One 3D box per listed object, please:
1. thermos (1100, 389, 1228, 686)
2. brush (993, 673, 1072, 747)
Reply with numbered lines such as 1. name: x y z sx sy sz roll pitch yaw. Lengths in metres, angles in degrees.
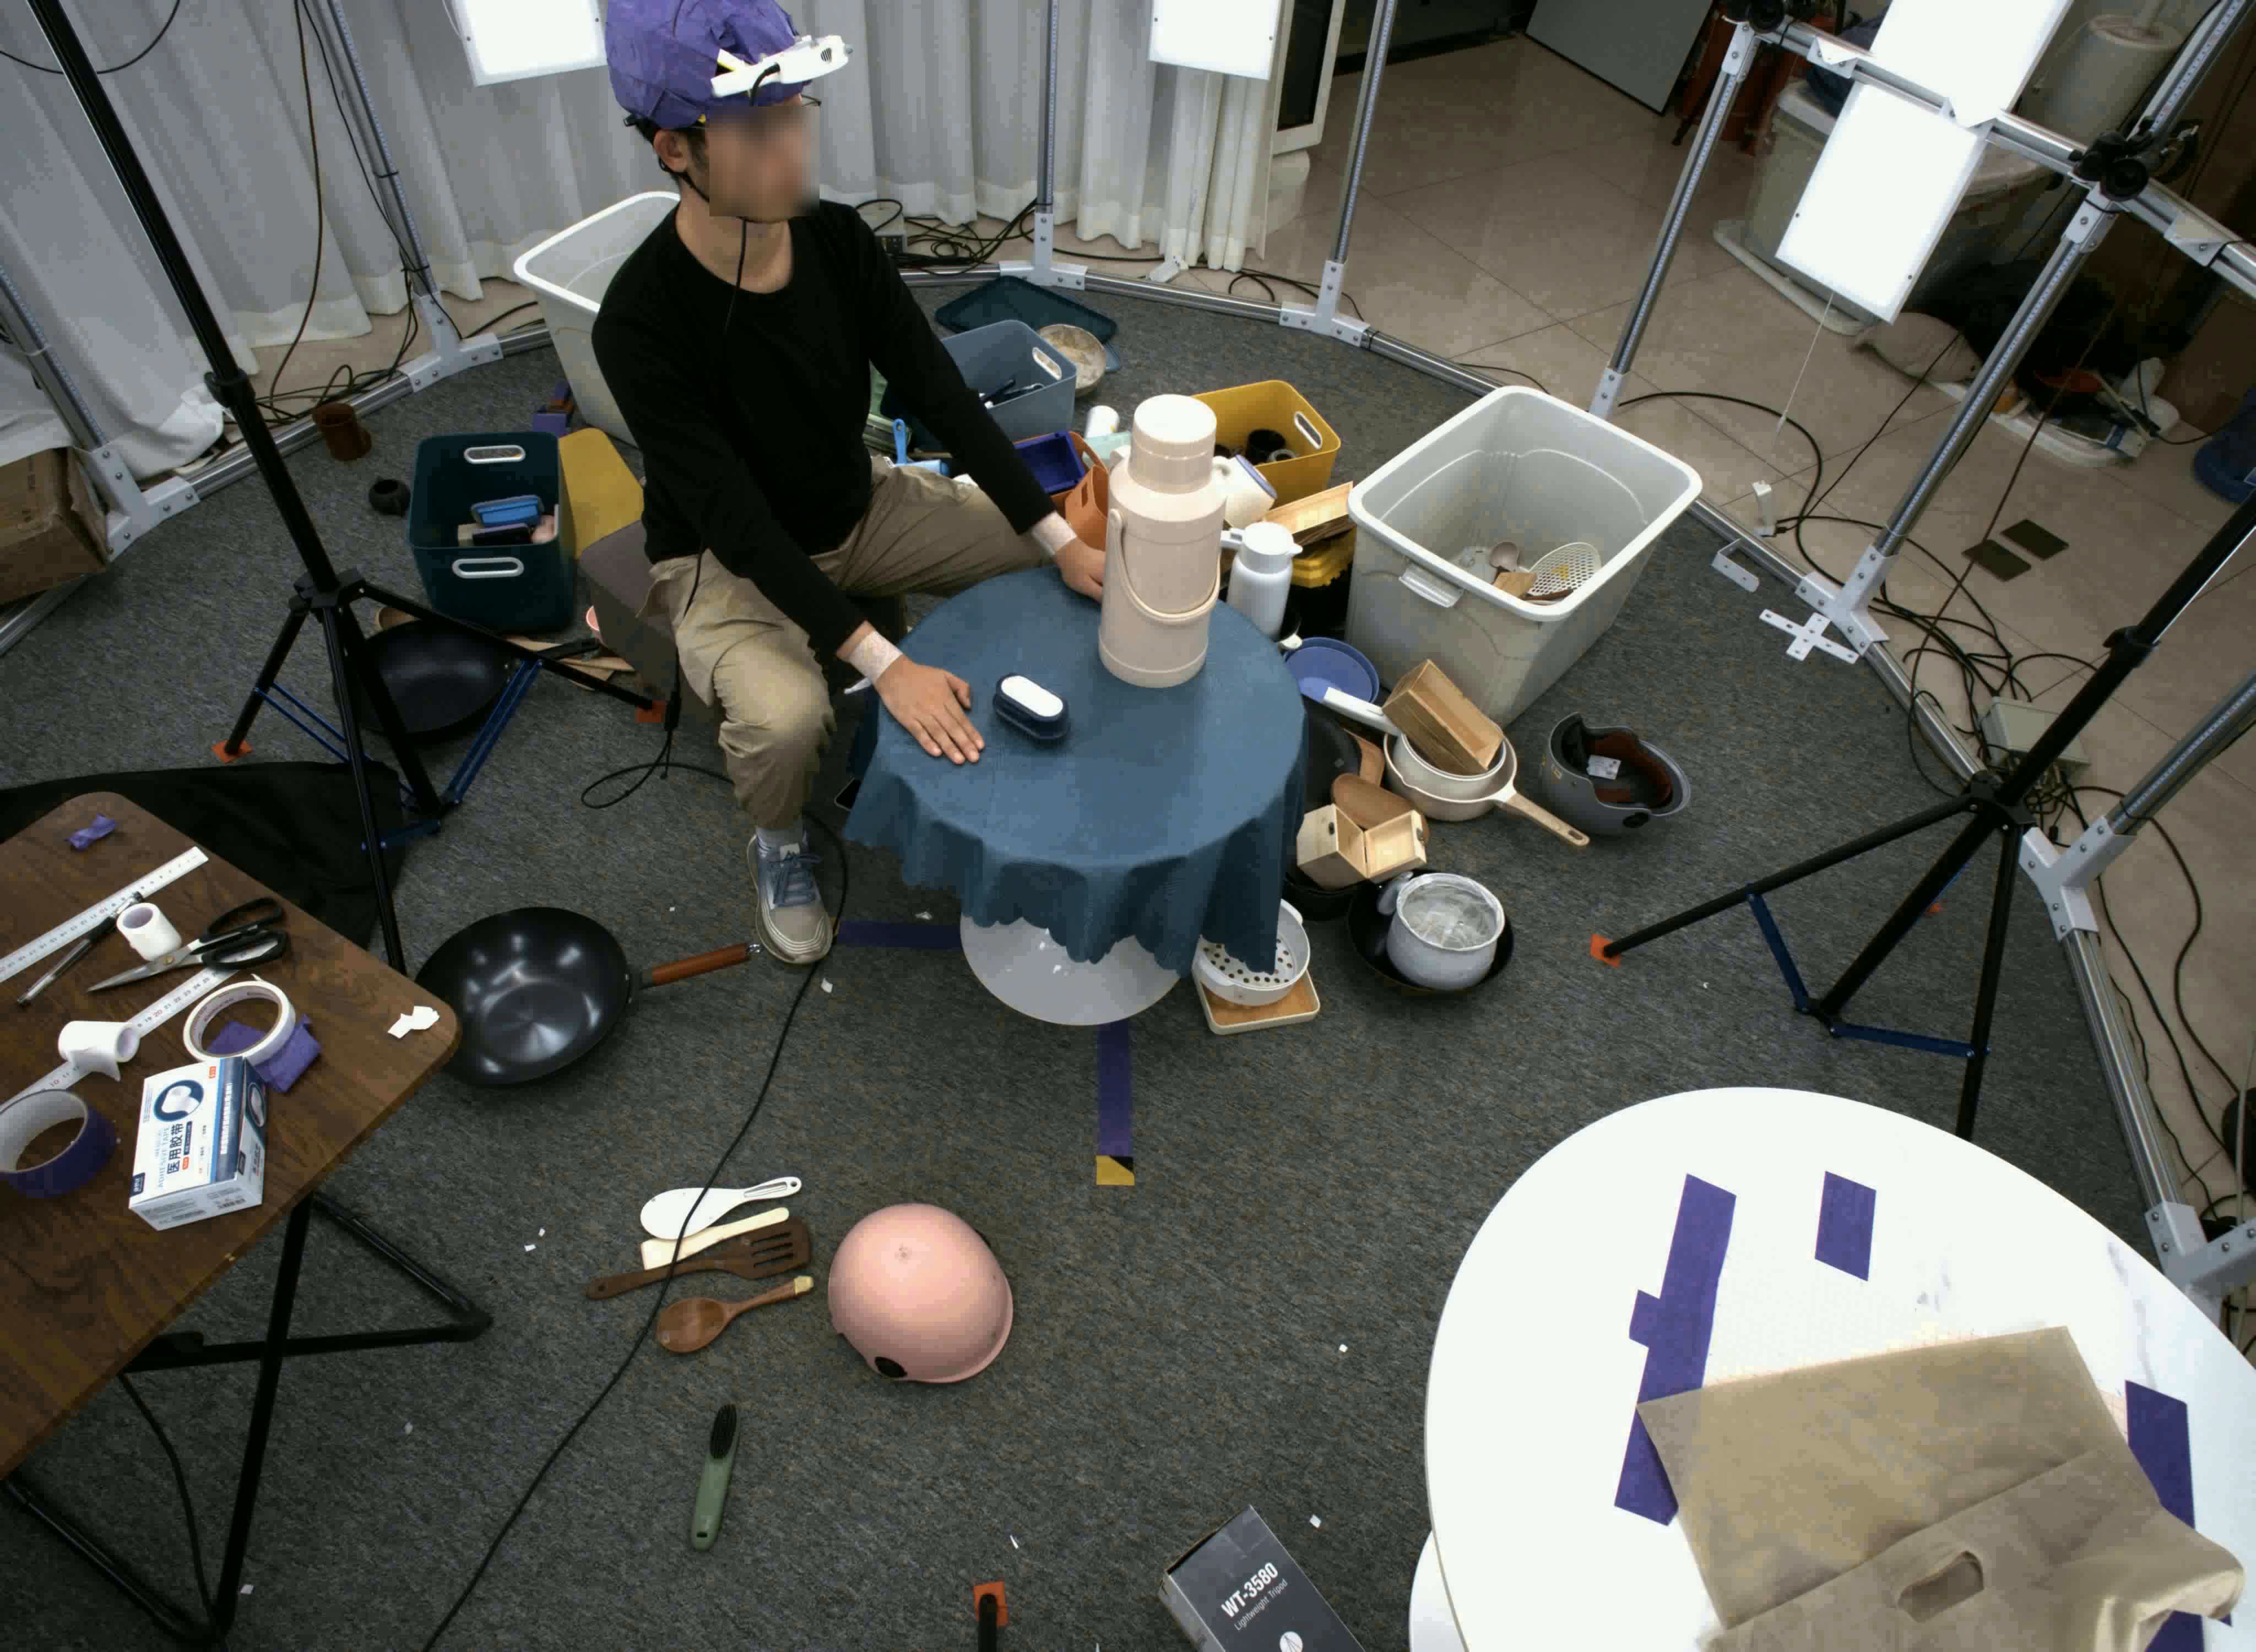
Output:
1. thermos: 0.041 -0.396 1.760 0.176 0.396 0.211 -28 57 -23
2. brush: -0.131 -0.158 1.762 0.123 0.060 0.068 35 52 23
